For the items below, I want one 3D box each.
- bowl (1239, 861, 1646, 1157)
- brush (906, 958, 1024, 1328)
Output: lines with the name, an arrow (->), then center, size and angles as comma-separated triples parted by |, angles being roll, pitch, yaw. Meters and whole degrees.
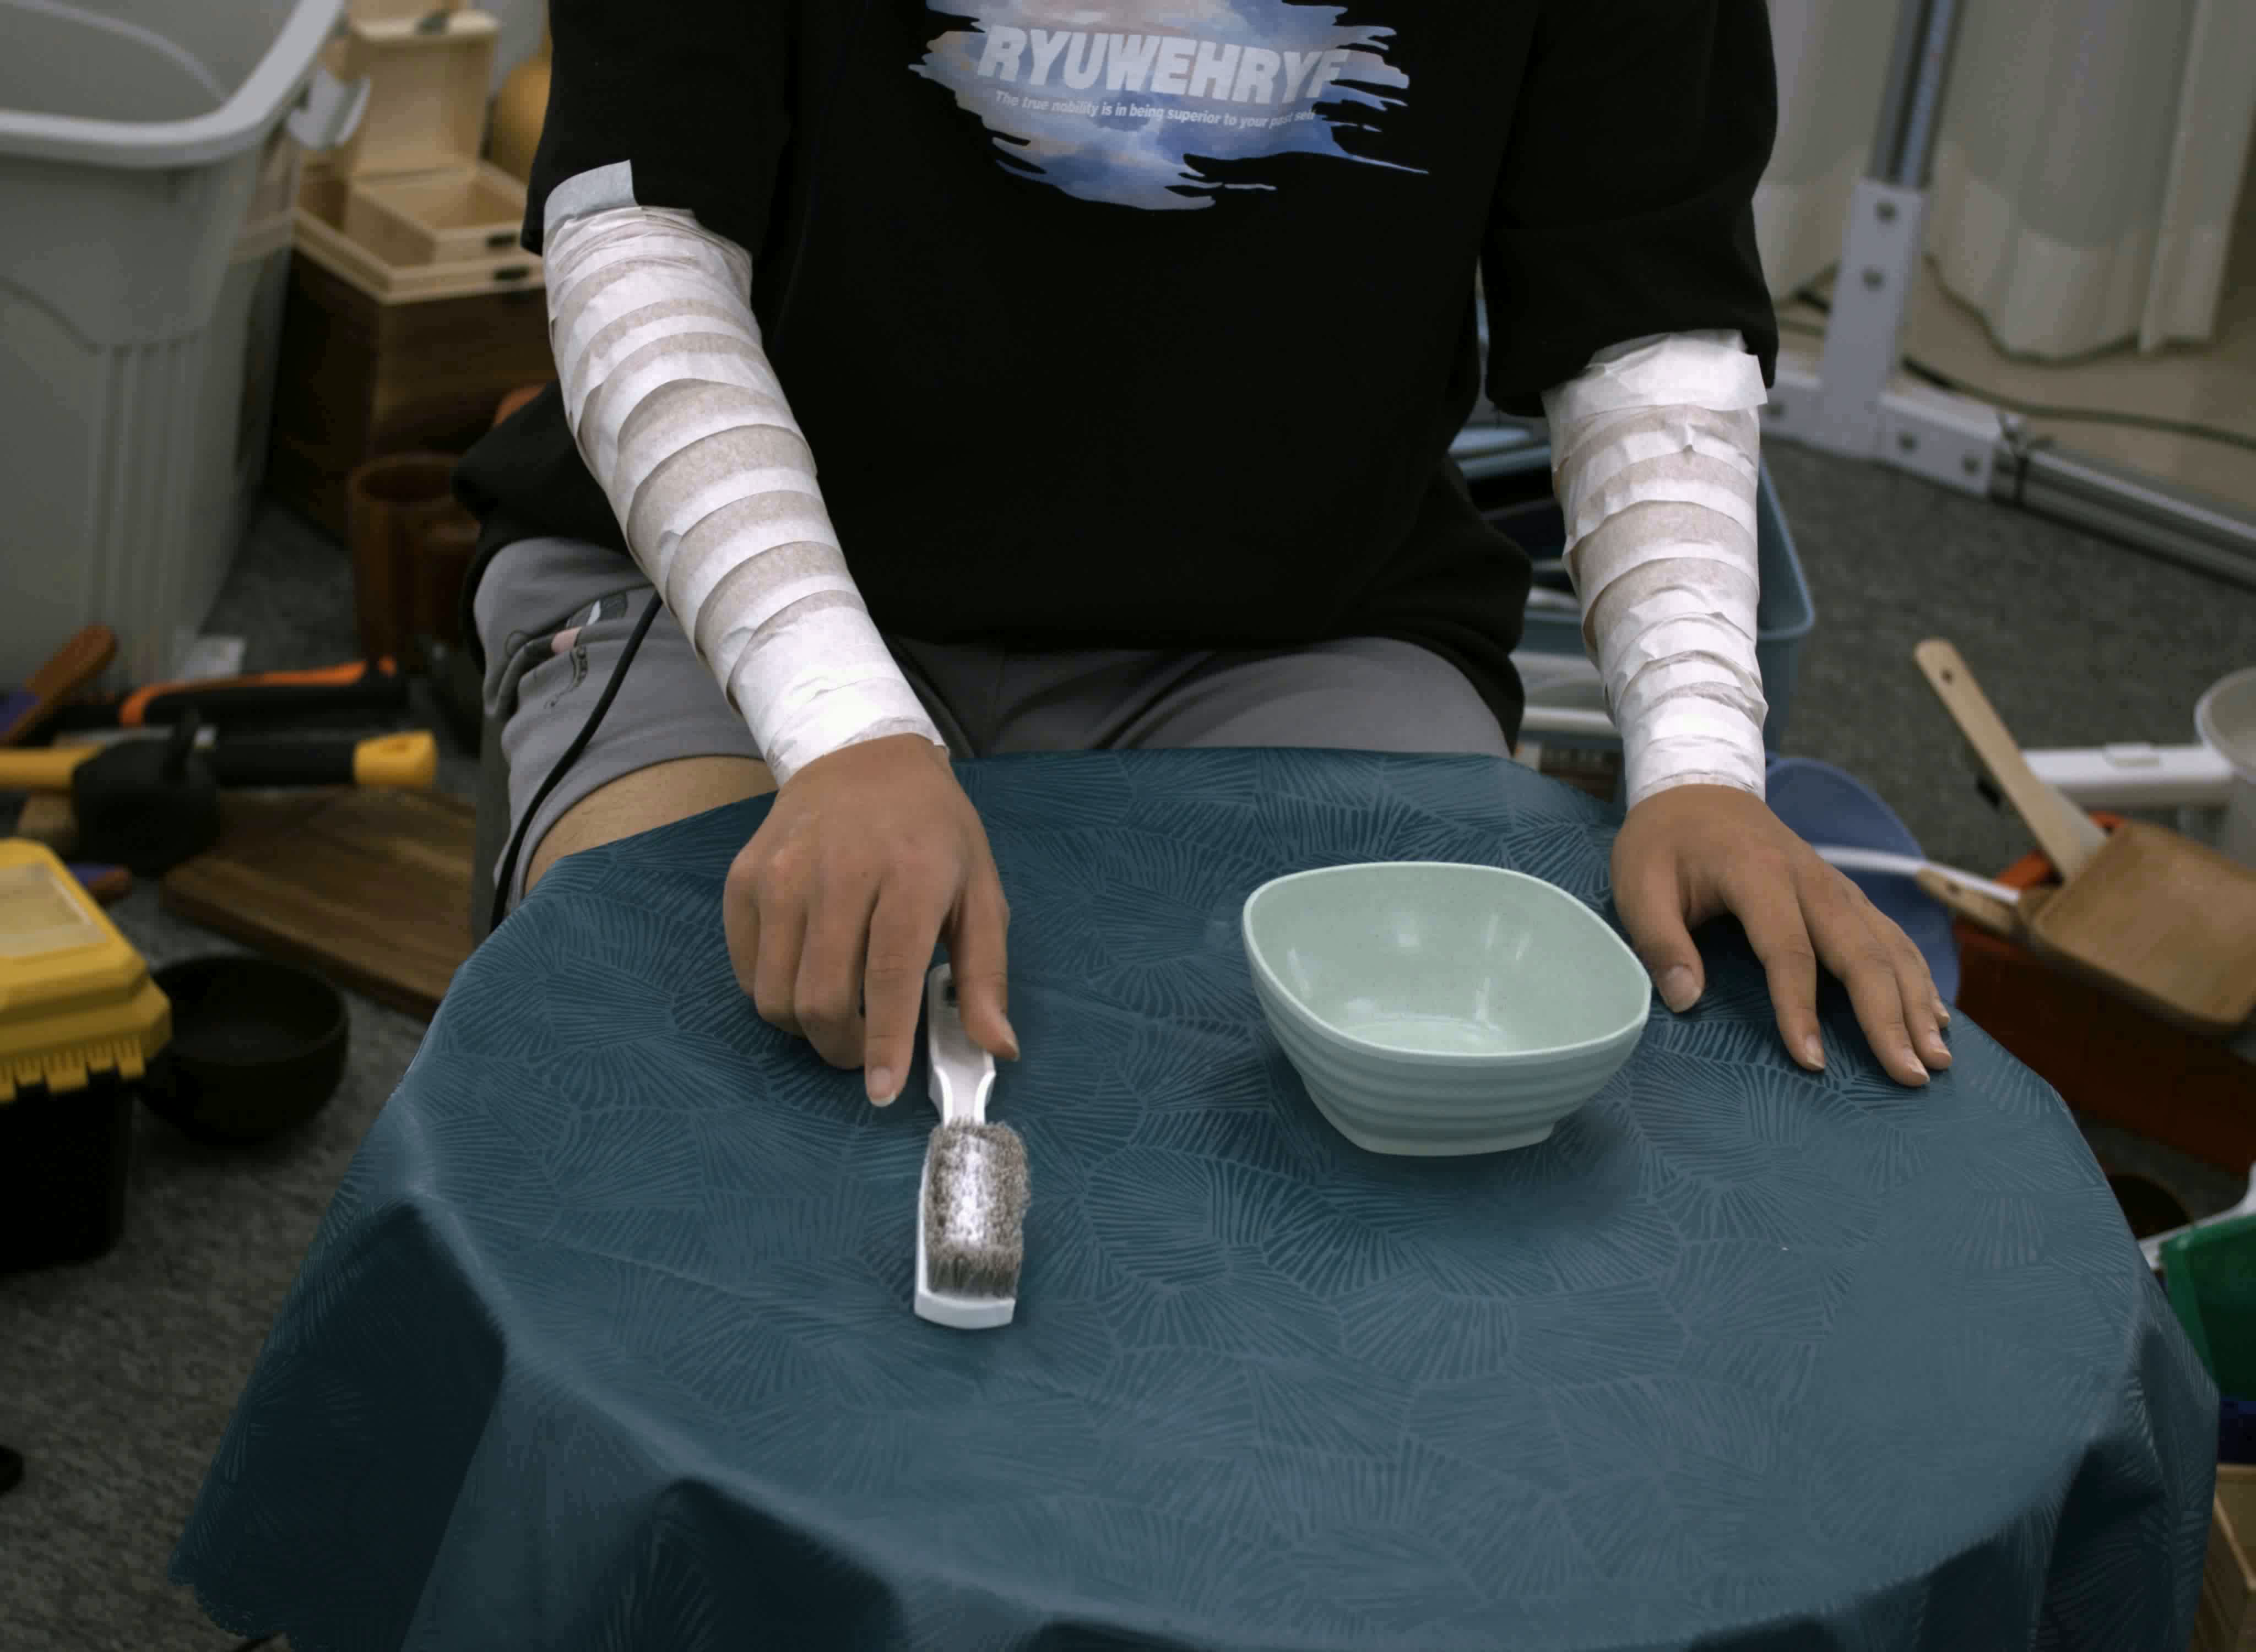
bowl -> 0.106, 0.070, 1.872 | 0.151, 0.058, 0.152 | 7, 27, -4
brush -> -0.052, 0.090, 1.804 | 0.034, 0.050, 0.245 | 8, 27, -4
